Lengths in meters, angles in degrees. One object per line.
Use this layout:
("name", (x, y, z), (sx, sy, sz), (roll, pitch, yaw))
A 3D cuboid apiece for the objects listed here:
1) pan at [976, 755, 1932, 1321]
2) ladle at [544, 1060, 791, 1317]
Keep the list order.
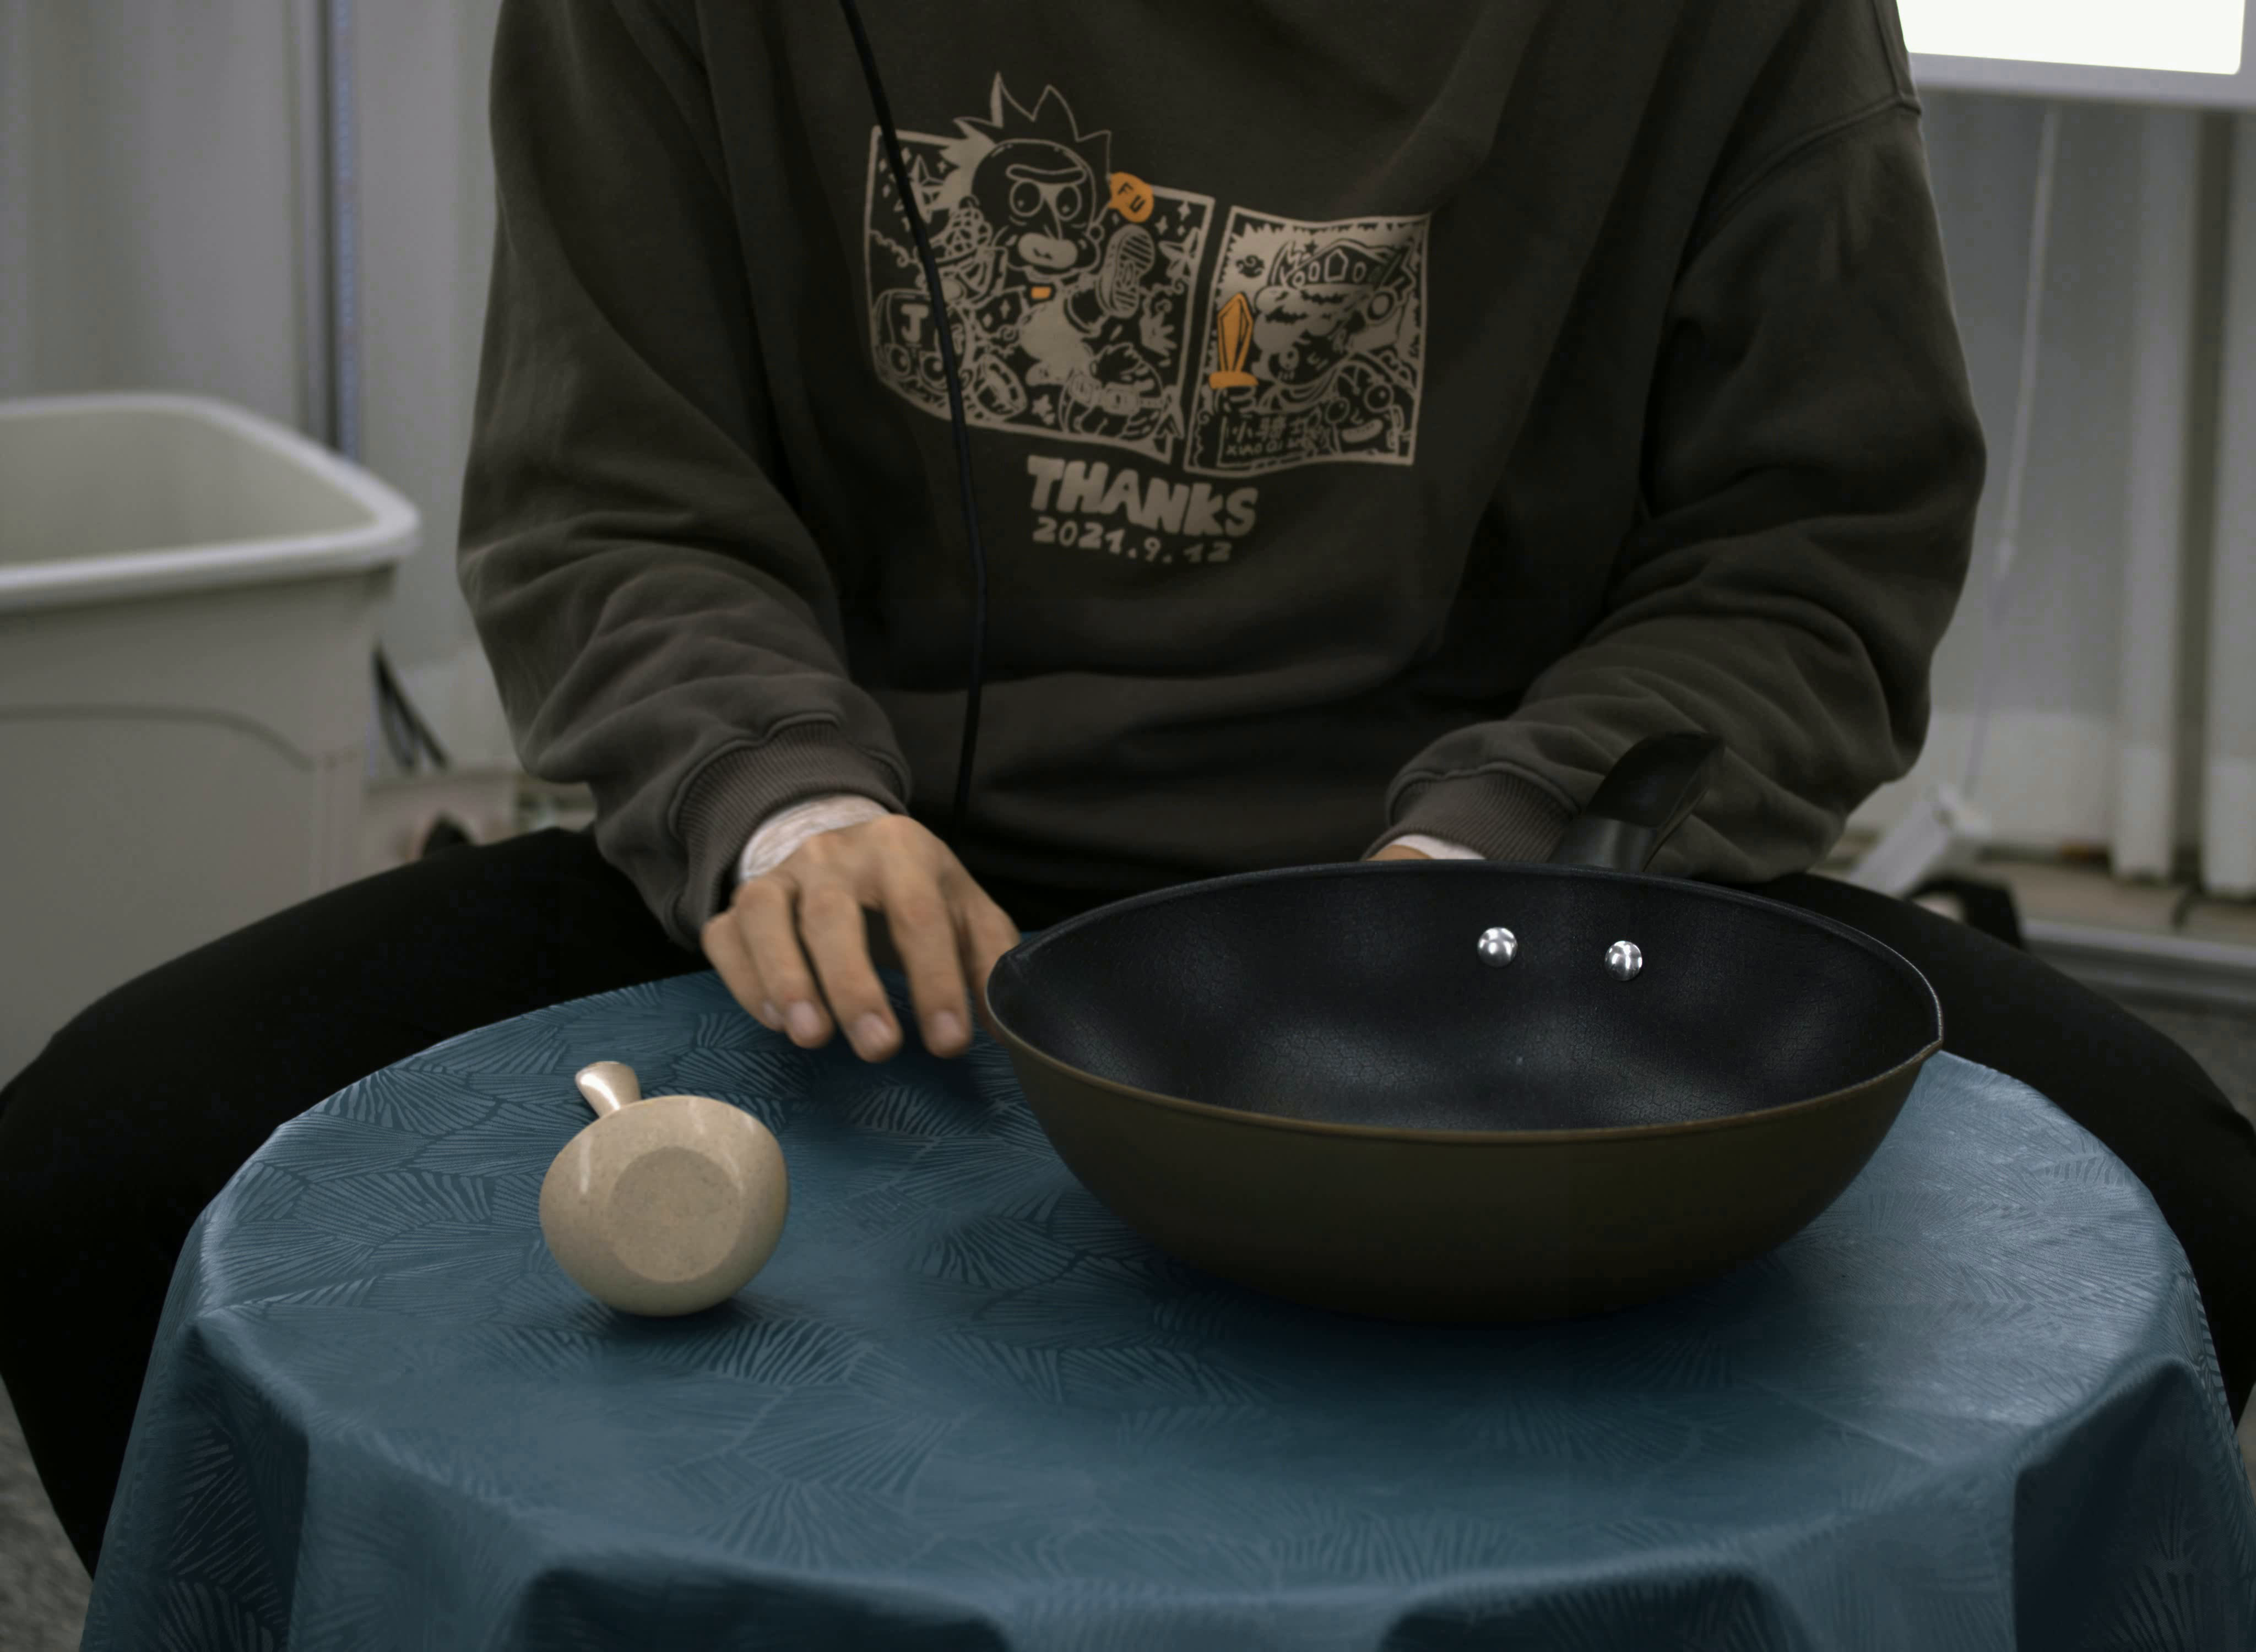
("pan", (0.124, 0.063, 1.659), (0.285, 0.087, 0.463), (5, 15, 17))
("ladle", (-0.156, 0.080, 1.604), (0.072, 0.073, 0.252), (-13, 18, -11))
